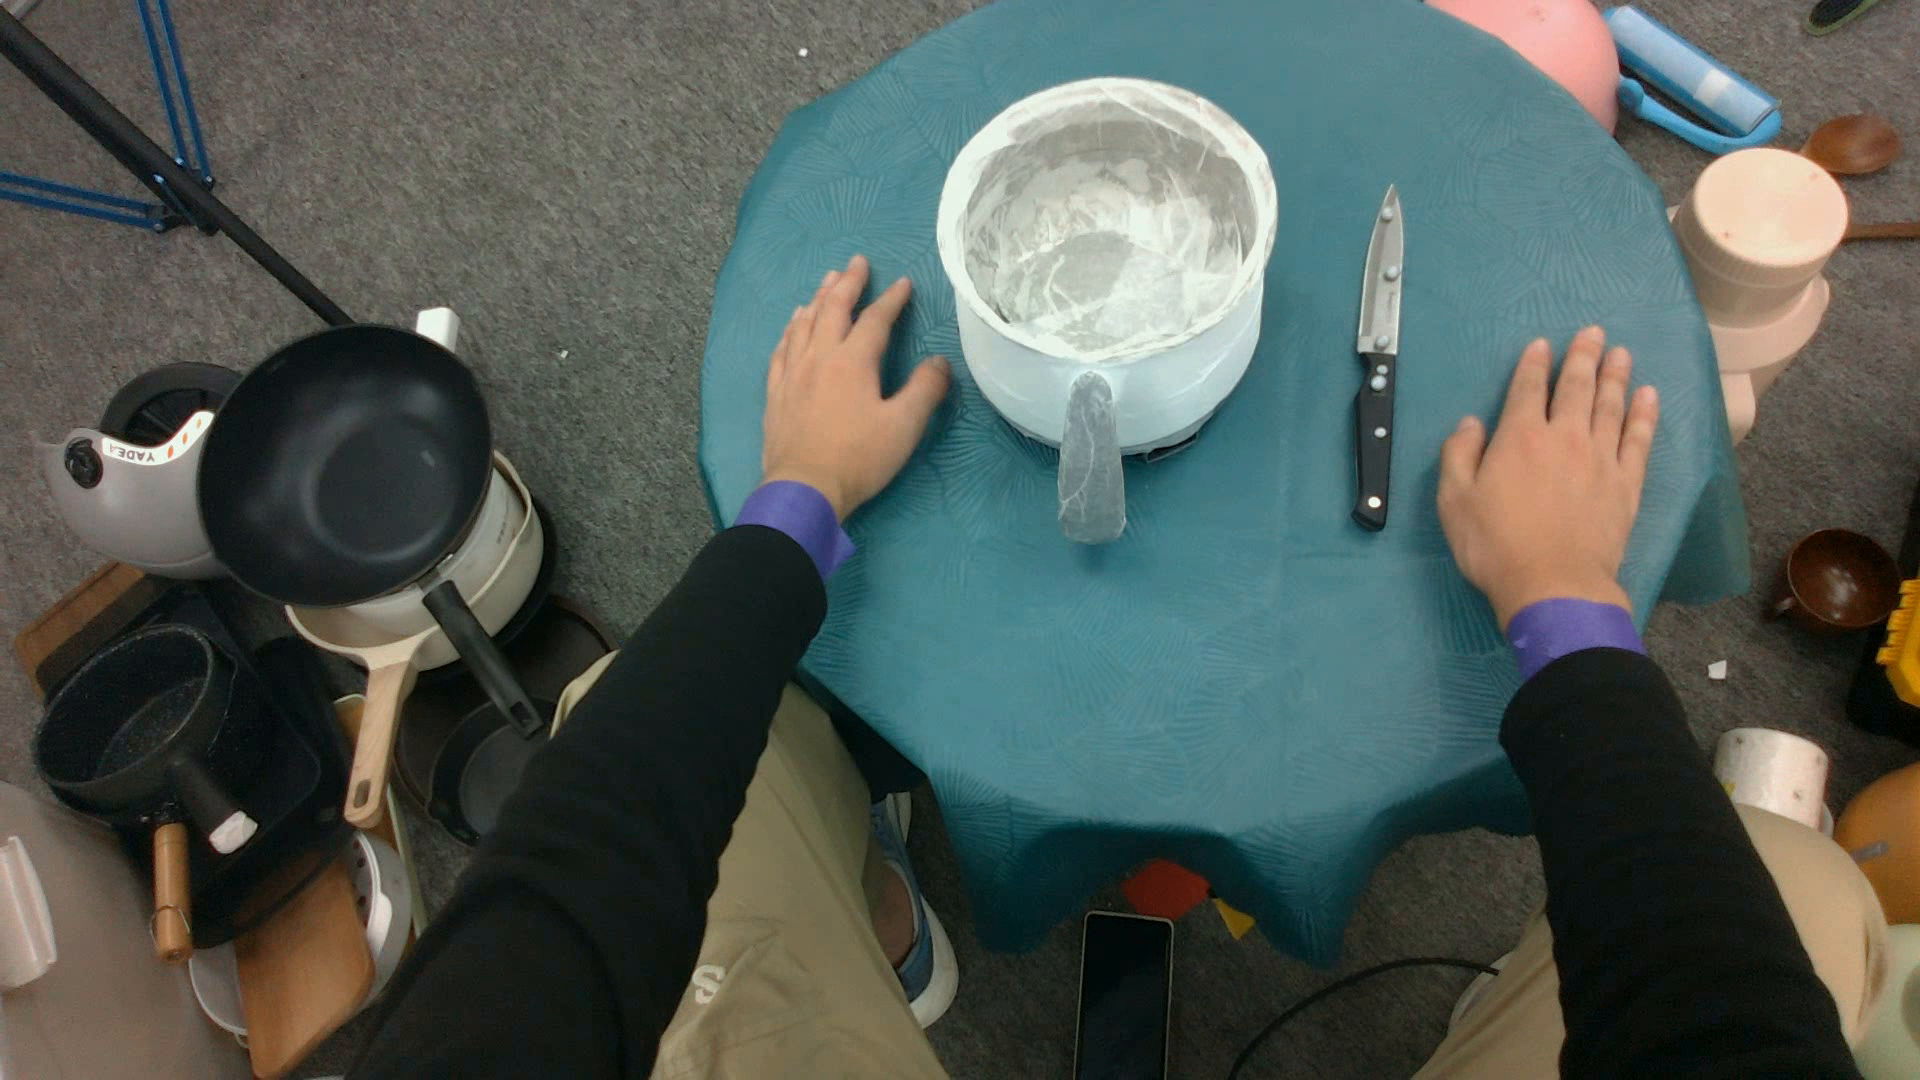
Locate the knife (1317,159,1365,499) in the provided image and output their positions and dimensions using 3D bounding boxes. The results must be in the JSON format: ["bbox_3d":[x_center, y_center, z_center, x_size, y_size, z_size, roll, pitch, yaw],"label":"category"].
[{"bbox_3d":[0.228,-0.131,0.815,0.024,0.016,0.239,6,66,9],"label":"knife"}]

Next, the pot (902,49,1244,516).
[{"bbox_3d":[0.063,-0.137,0.765,0.178,0.136,0.234,1,67,7],"label":"pot"}]
